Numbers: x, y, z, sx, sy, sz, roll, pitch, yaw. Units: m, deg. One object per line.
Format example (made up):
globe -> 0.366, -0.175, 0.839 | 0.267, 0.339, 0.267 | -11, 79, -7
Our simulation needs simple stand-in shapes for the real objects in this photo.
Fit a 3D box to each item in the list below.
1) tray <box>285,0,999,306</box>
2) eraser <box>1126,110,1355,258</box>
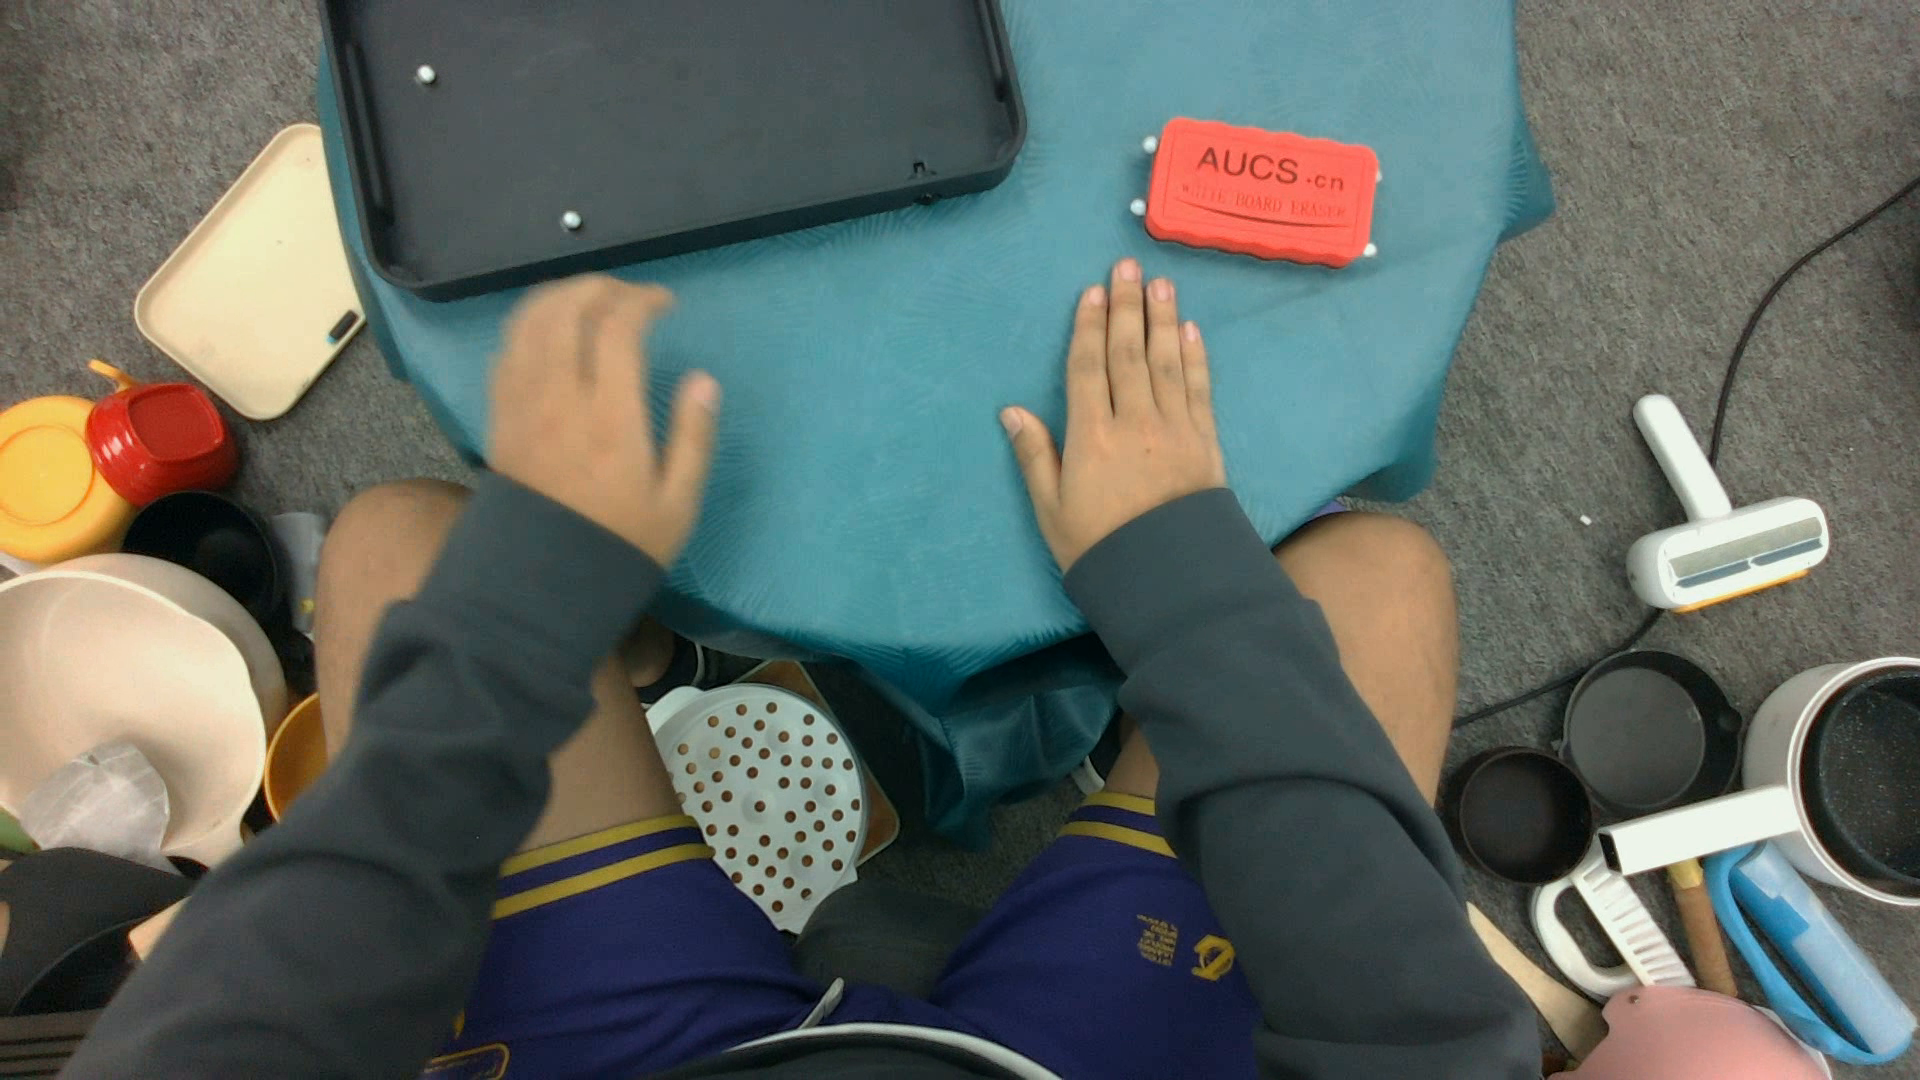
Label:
tray -> -0.153, -0.236, 0.676 | 0.318, 0.037, 0.184 | -14, 85, -5
eraser -> 0.140, -0.177, 0.688 | 0.108, 0.023, 0.059 | 8, 89, -3
